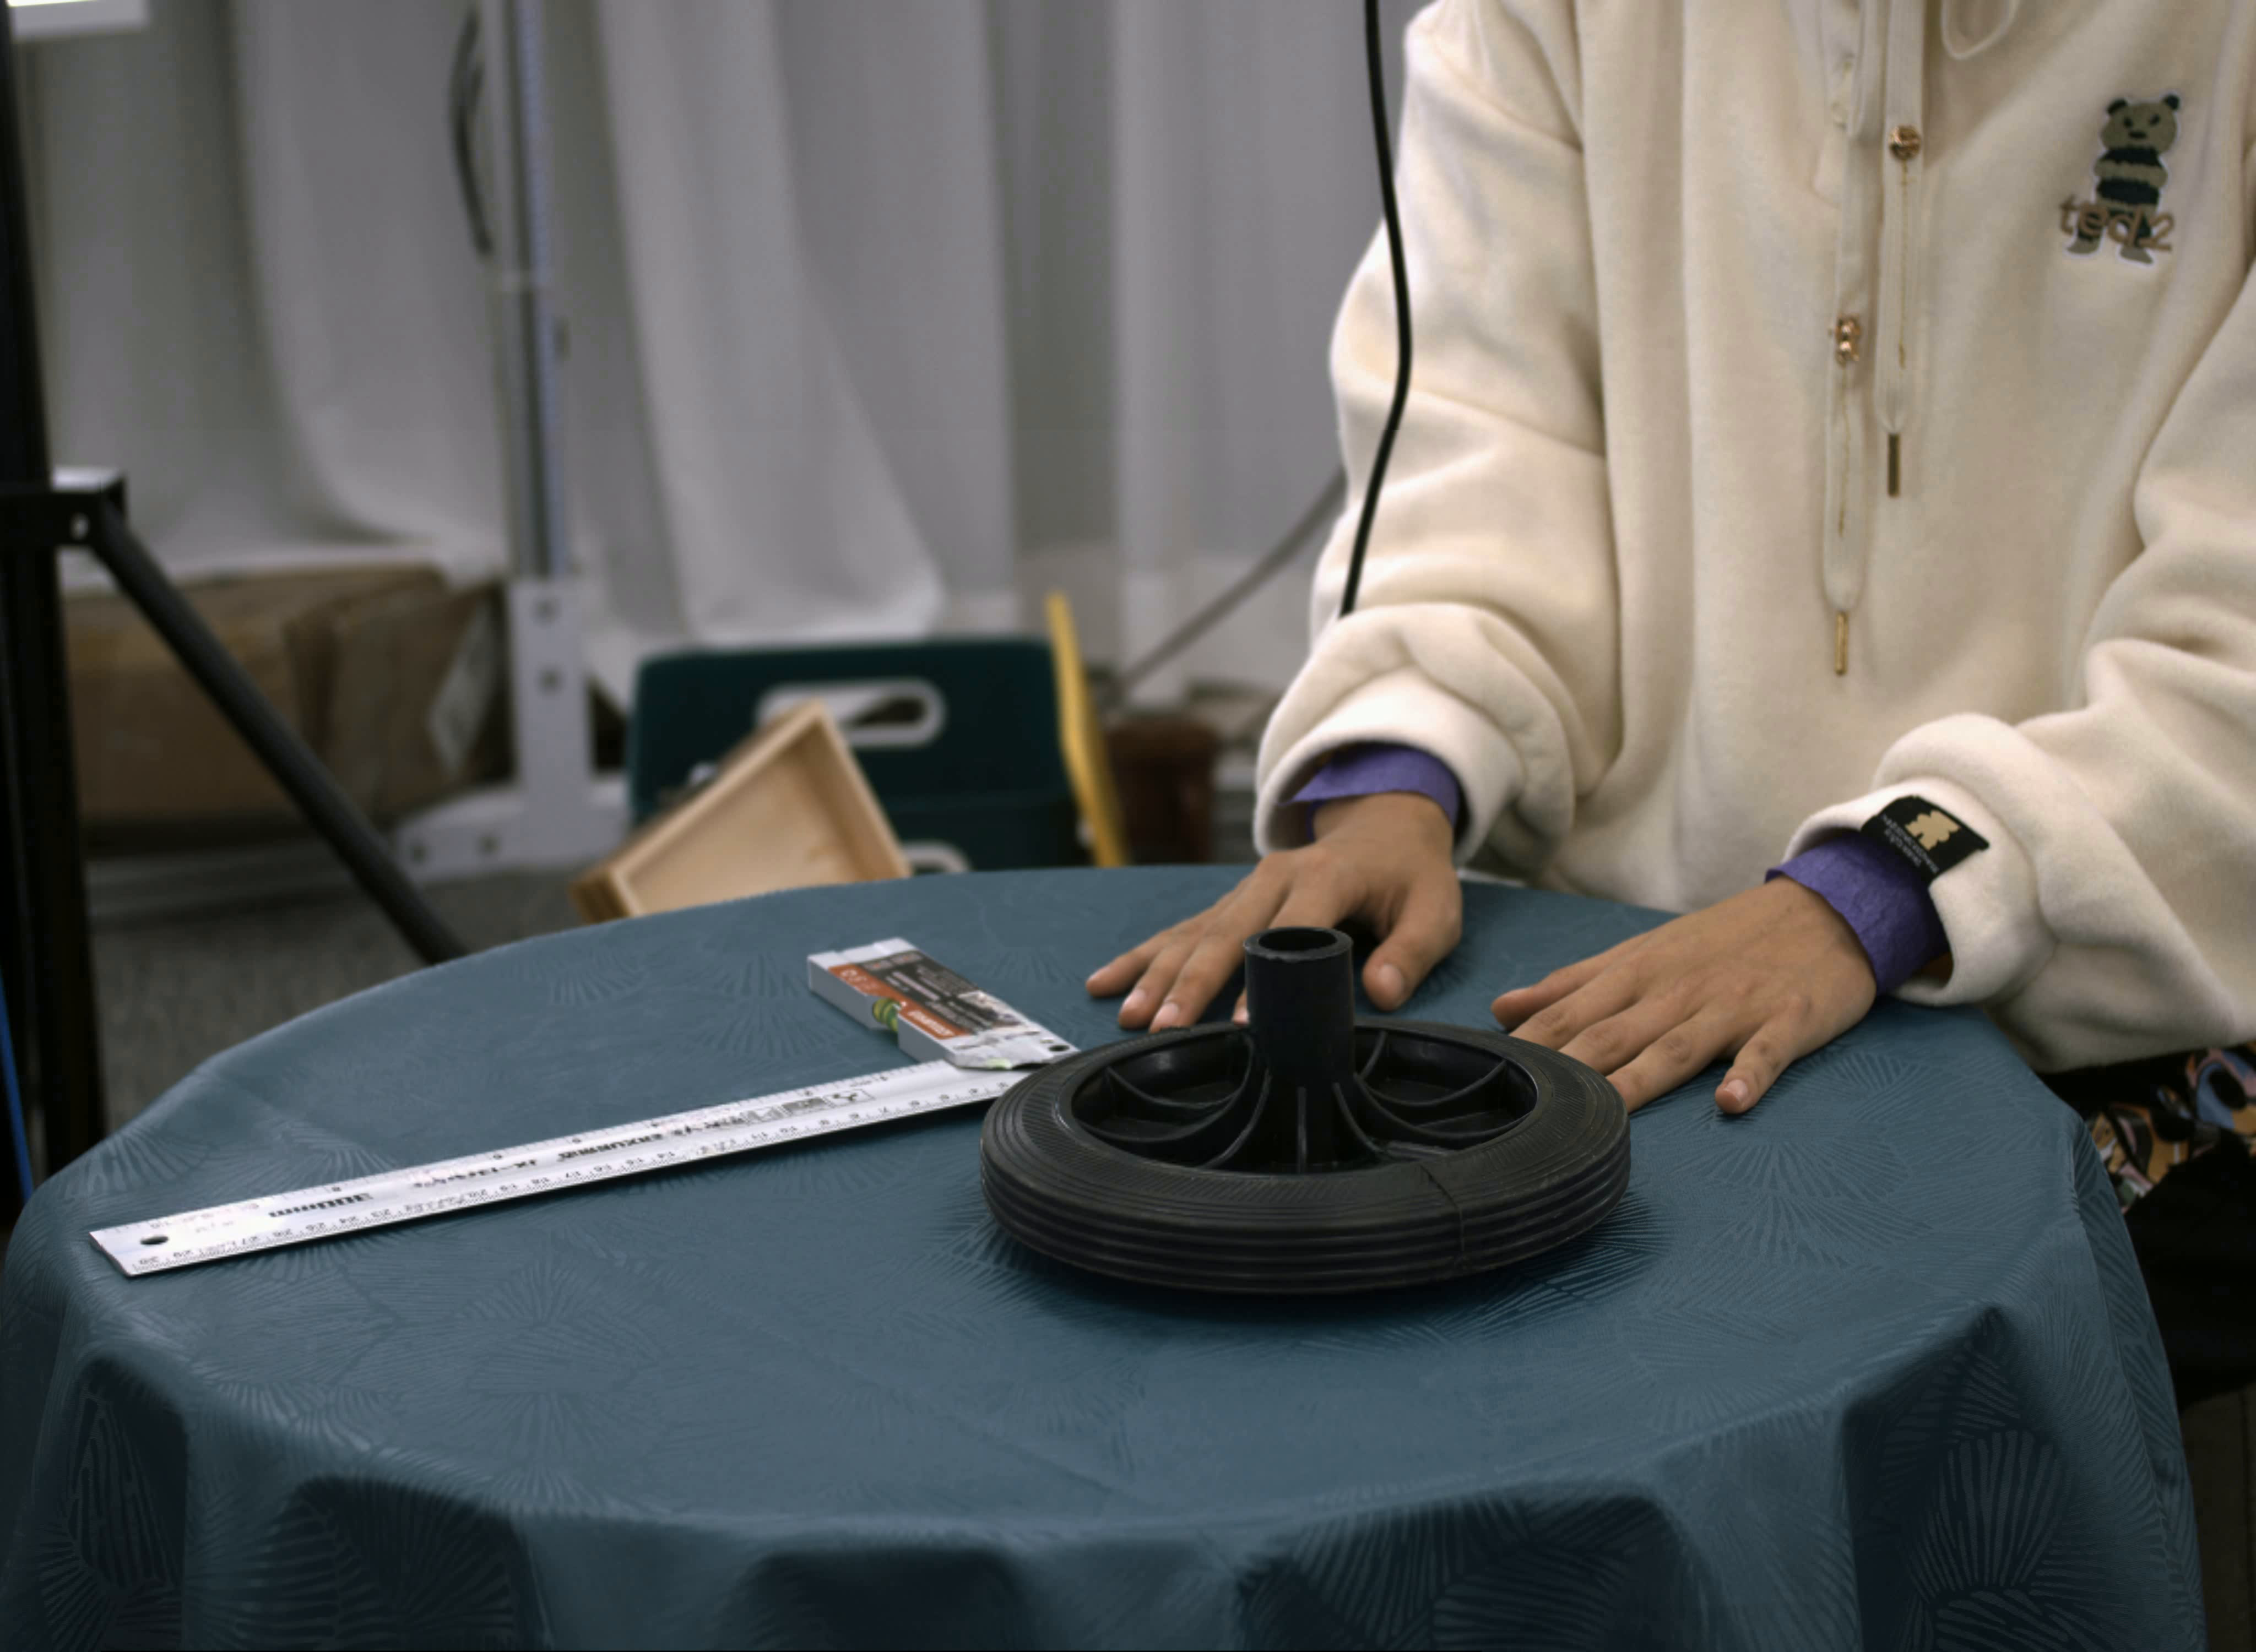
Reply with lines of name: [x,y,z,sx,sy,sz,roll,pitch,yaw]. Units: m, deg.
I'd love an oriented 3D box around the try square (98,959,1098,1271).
try square: [-0.177,0.088,1.651,0.307,0.016,0.155,-10,15,-22]

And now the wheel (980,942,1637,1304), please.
wheel: [0.051,0.076,1.524,0.191,0.079,0.186,1,16,11]
